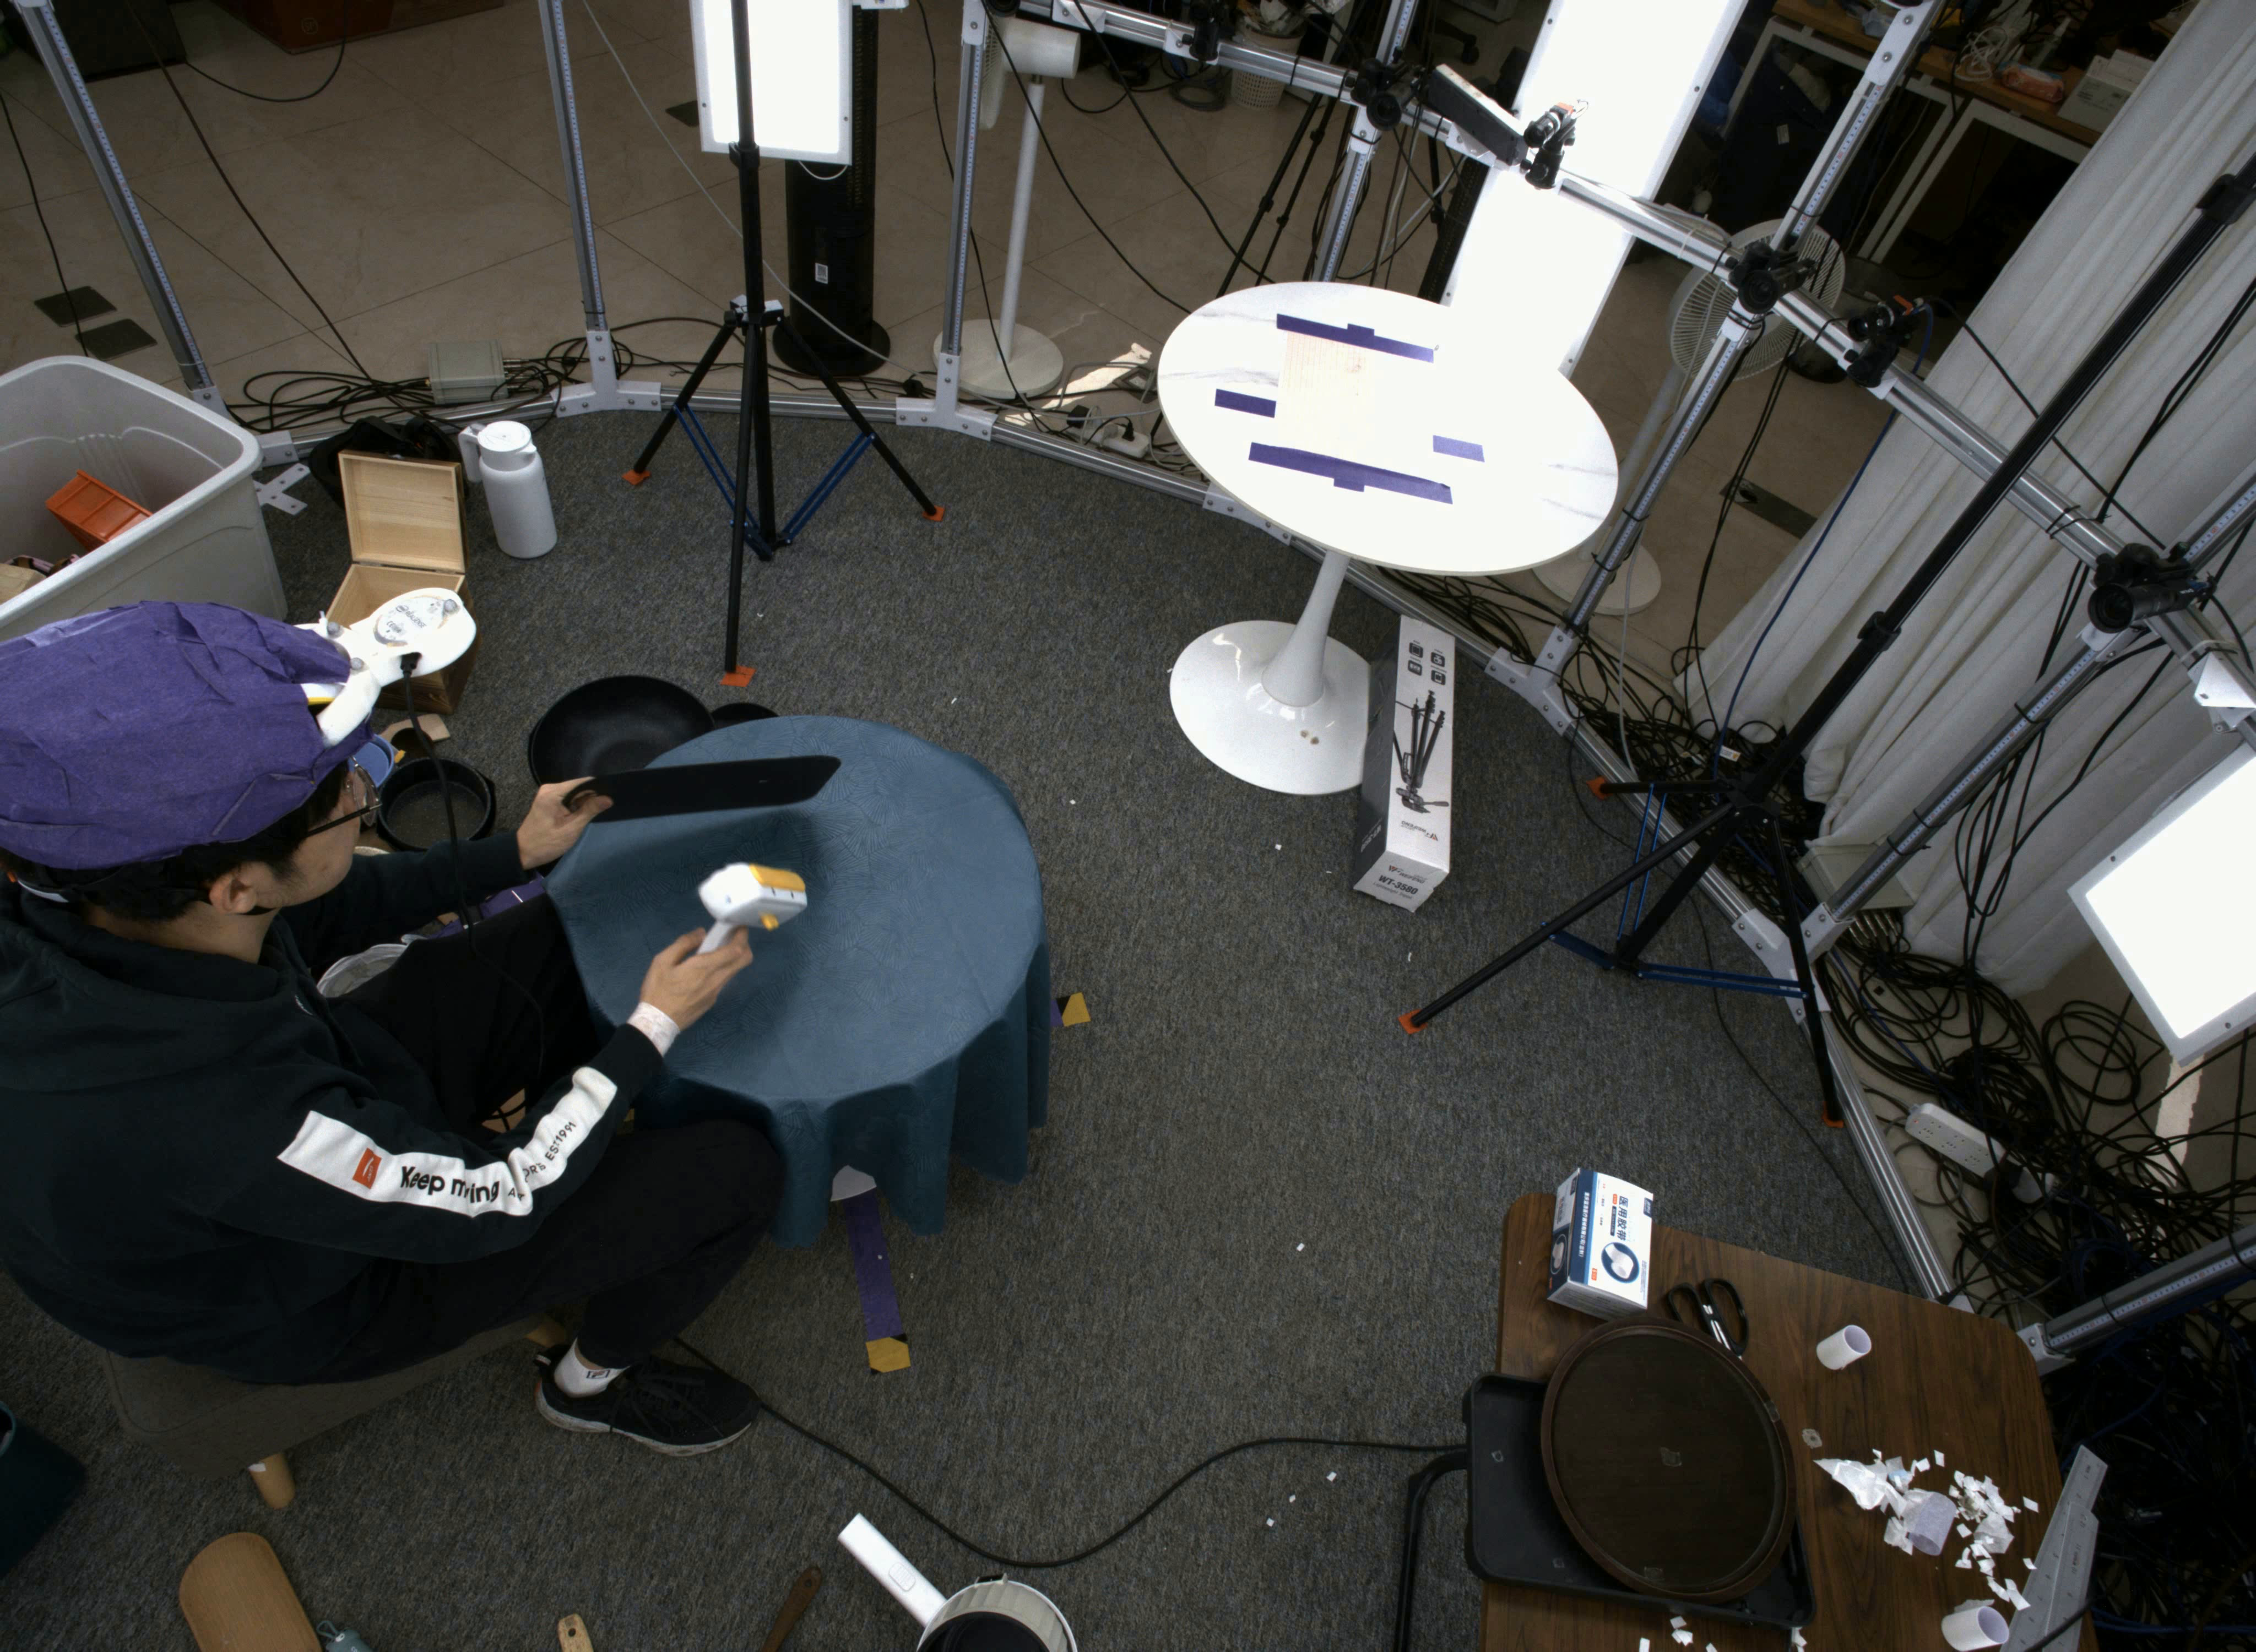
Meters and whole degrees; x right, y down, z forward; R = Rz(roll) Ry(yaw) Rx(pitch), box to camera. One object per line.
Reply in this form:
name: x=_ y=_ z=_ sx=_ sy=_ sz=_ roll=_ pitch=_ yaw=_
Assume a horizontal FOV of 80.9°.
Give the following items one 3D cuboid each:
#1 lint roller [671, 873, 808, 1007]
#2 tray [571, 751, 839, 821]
lint roller: x=-0.470 y=0.126 z=1.498 sx=0.192 sy=0.193 sz=0.074 roll=-40 pitch=87 yaw=5
tray: x=-0.526 y=-0.050 z=1.583 sx=0.329 sy=0.208 sz=0.010 roll=-7 pitch=78 yaw=-31
